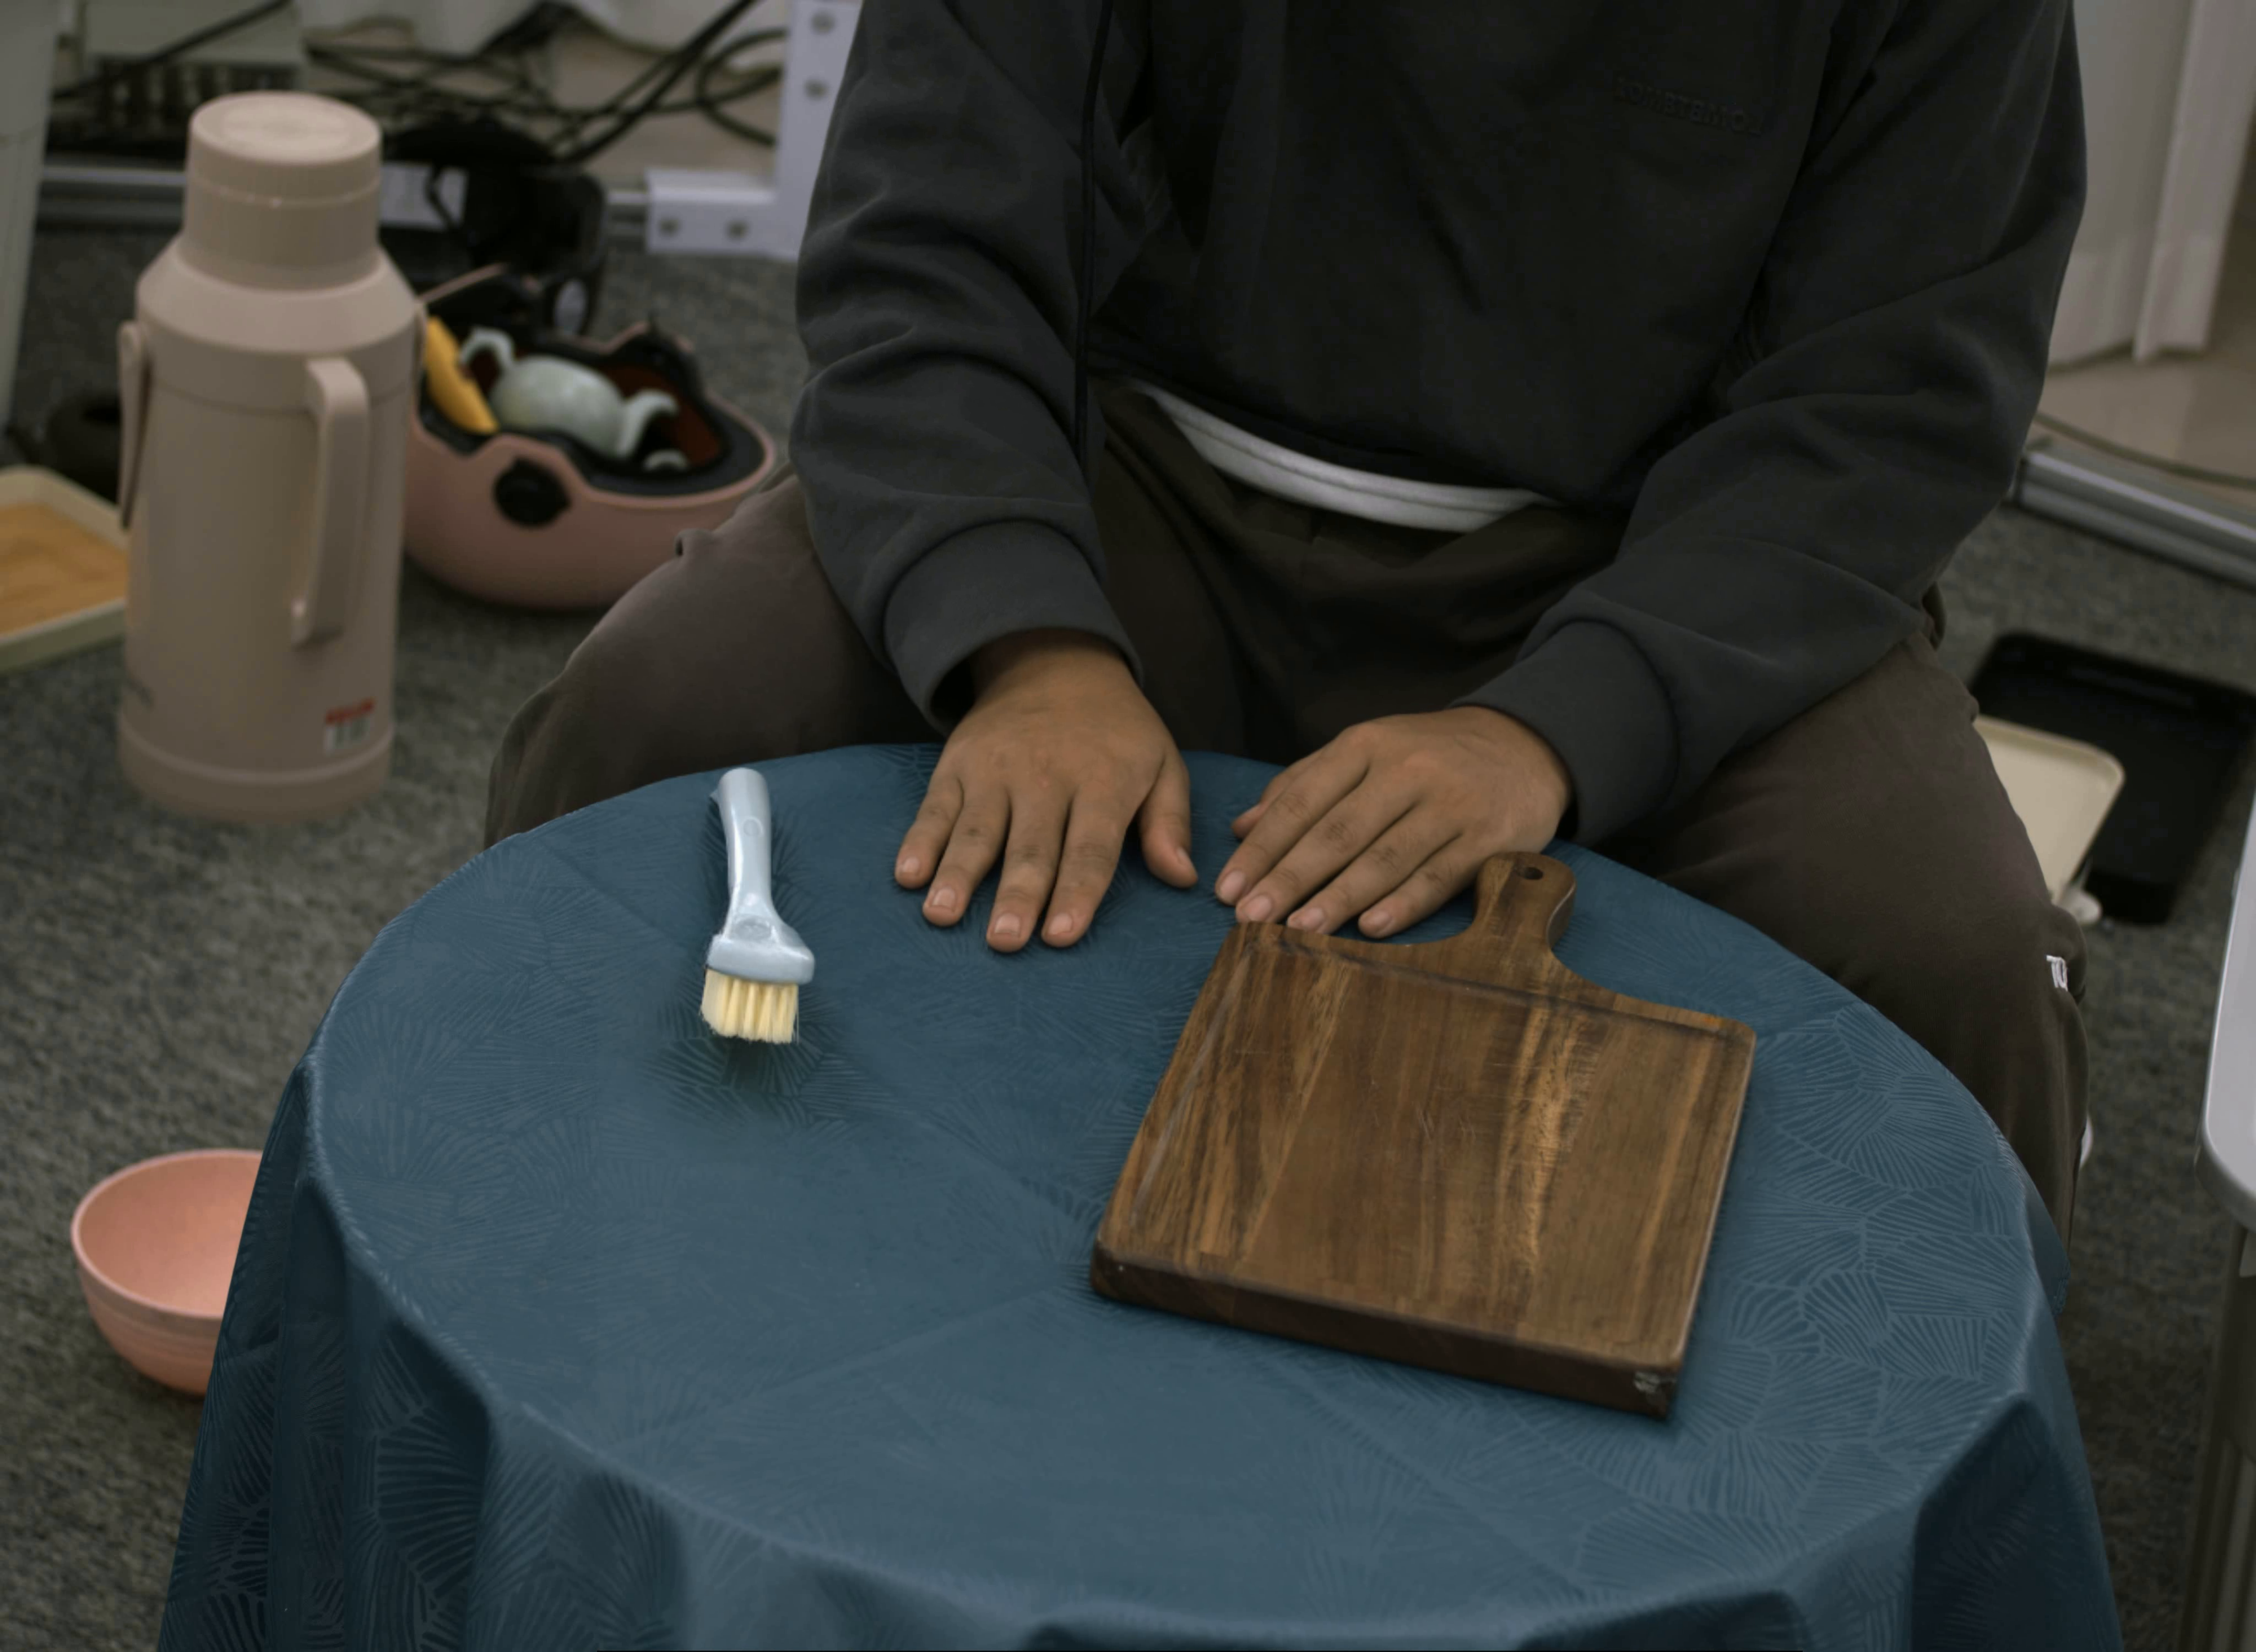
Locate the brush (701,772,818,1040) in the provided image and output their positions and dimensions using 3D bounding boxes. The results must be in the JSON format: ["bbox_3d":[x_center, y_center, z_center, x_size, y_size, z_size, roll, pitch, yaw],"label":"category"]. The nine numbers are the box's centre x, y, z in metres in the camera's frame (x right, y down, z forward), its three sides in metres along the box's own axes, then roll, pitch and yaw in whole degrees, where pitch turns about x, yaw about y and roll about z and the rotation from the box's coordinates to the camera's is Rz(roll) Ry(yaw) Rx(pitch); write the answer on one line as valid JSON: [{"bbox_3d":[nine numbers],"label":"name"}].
[{"bbox_3d":[-0.140,0.029,1.925,0.037,0.049,0.230,9,18,-11],"label":"brush"}]

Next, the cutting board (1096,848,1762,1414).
[{"bbox_3d":[0.119,0.091,1.876,0.201,0.023,0.353,12,27,9],"label":"cutting board"}]
